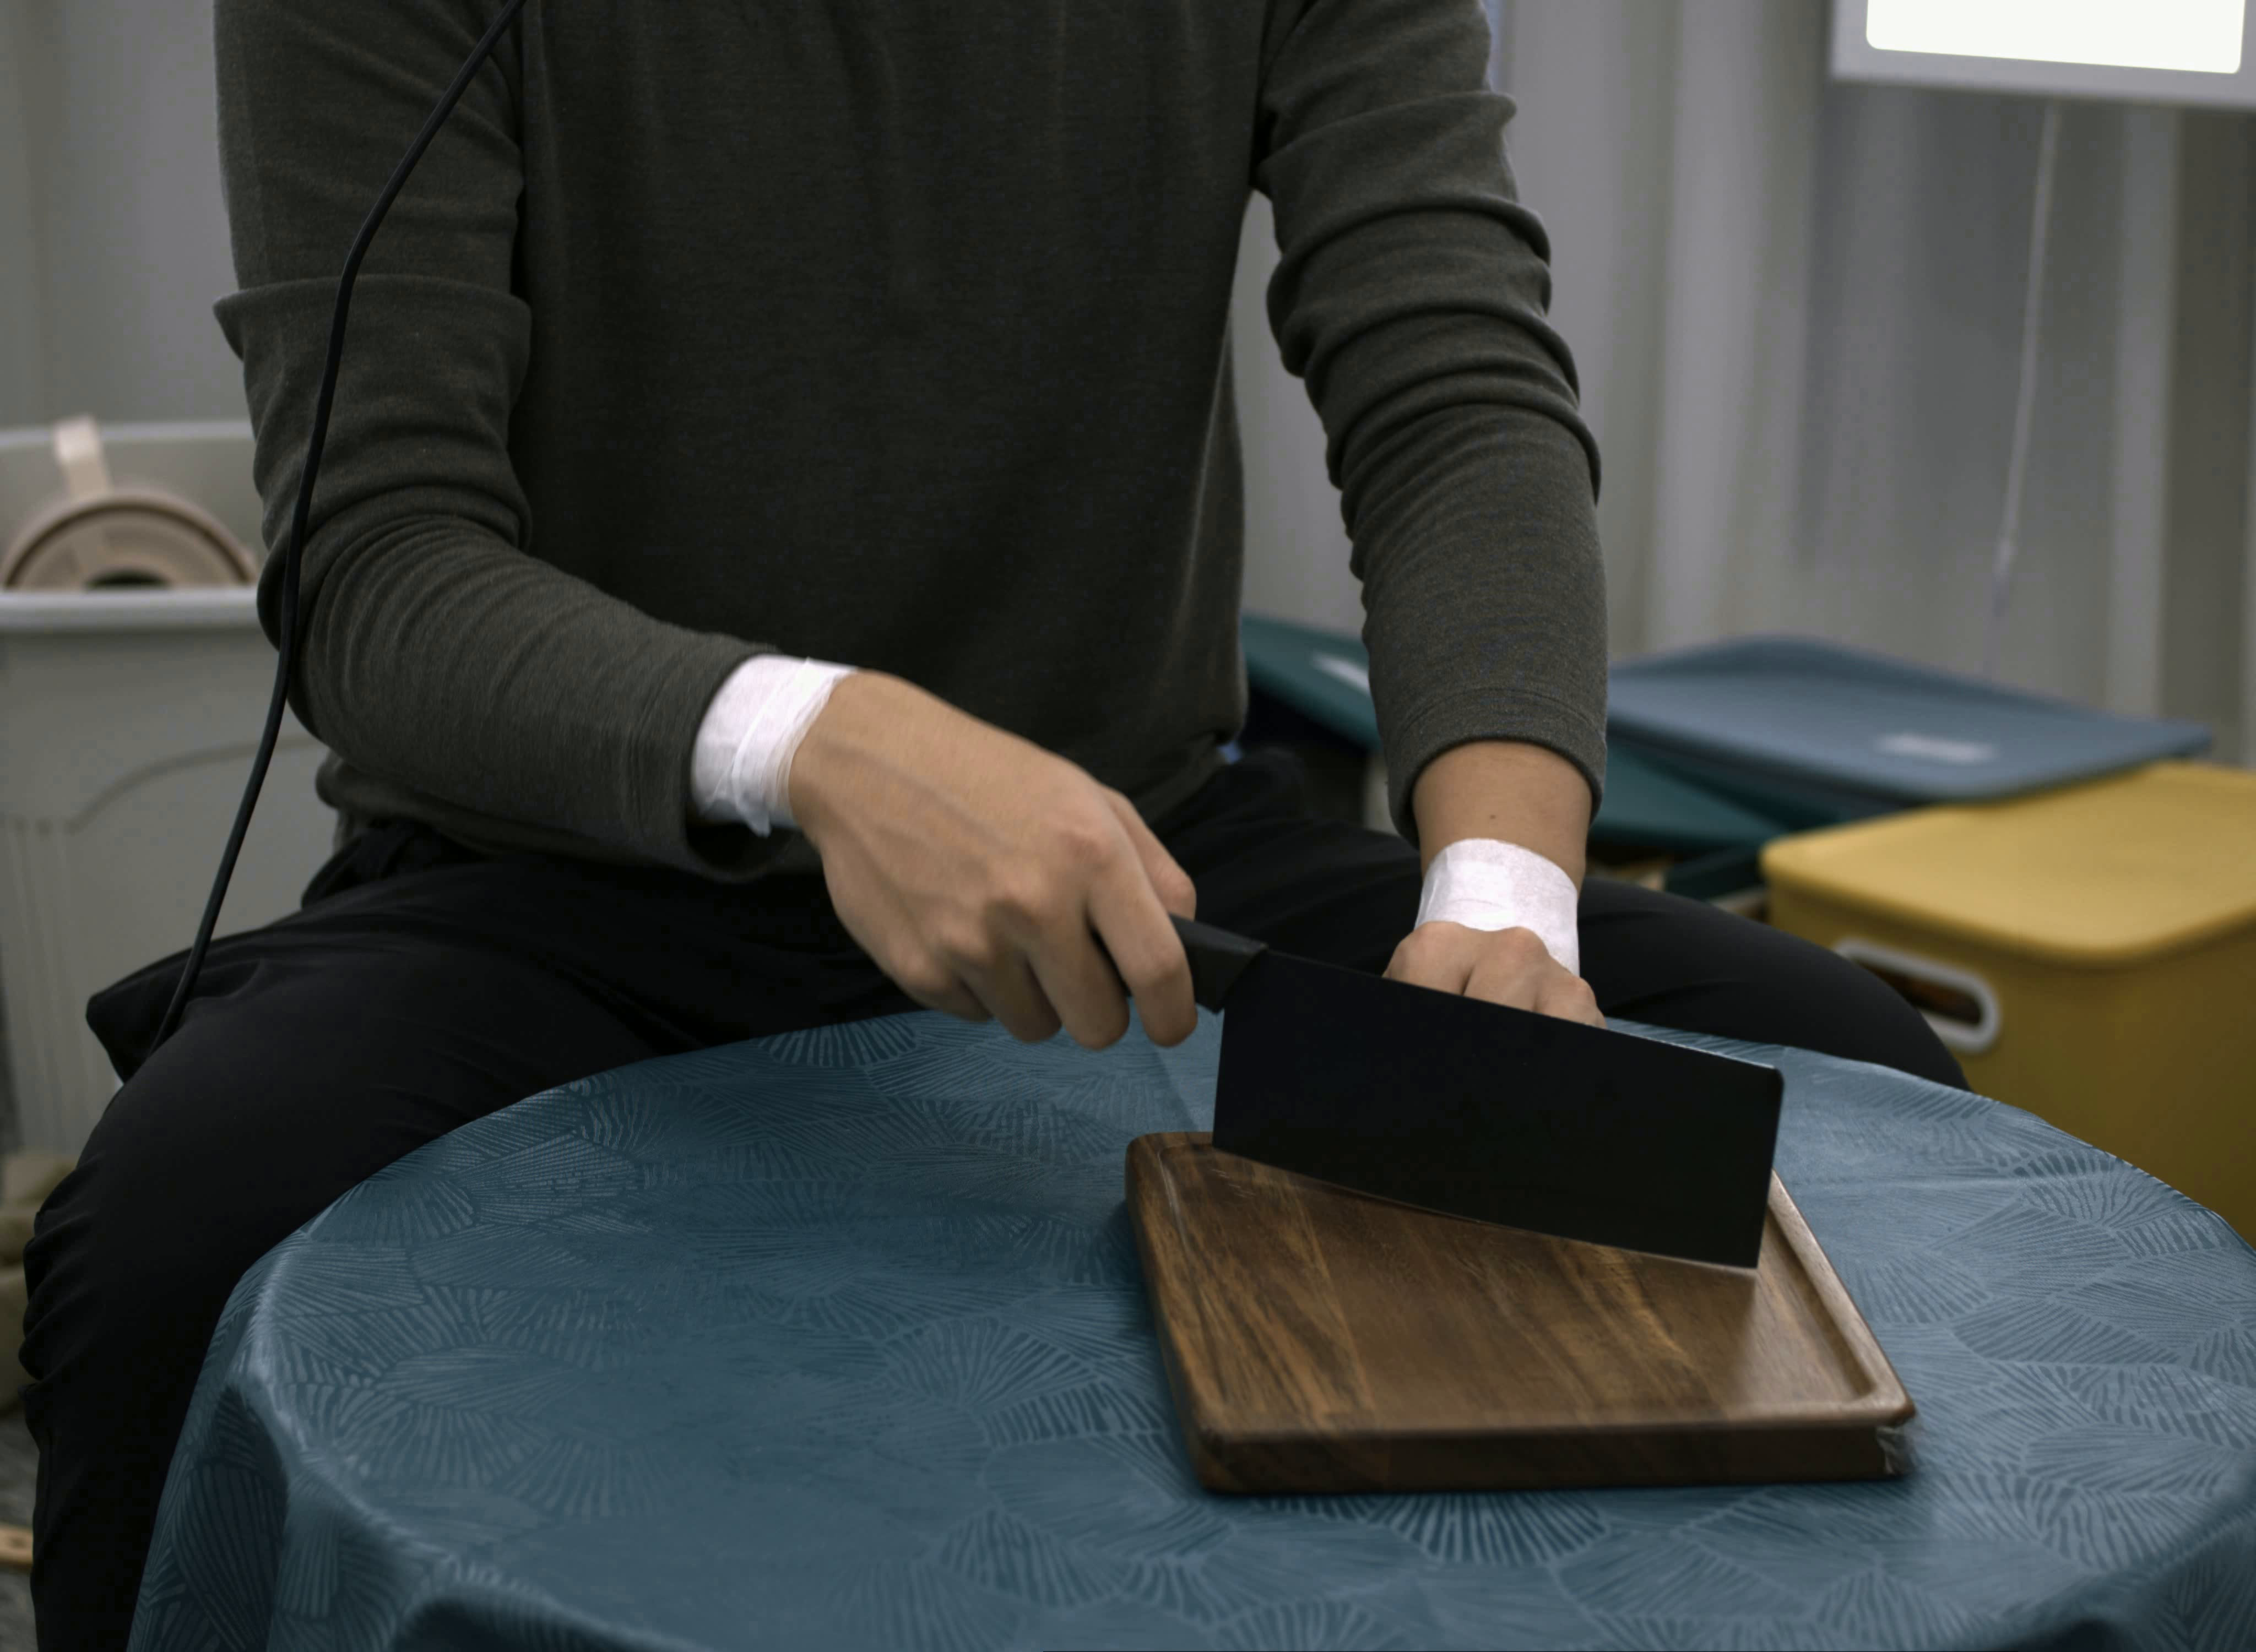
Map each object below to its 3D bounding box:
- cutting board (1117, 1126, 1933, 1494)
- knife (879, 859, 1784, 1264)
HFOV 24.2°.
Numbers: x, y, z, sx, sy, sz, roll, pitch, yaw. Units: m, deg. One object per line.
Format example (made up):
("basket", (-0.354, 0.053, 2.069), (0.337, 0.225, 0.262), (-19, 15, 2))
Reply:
("cutting board", (0.102, 0.120, 1.559), (0.201, 0.023, 0.349), (0, 15, -5))
("knife", (0.056, 0.065, 1.571), (0.299, 0.081, 0.021), (18, 15, 25))
